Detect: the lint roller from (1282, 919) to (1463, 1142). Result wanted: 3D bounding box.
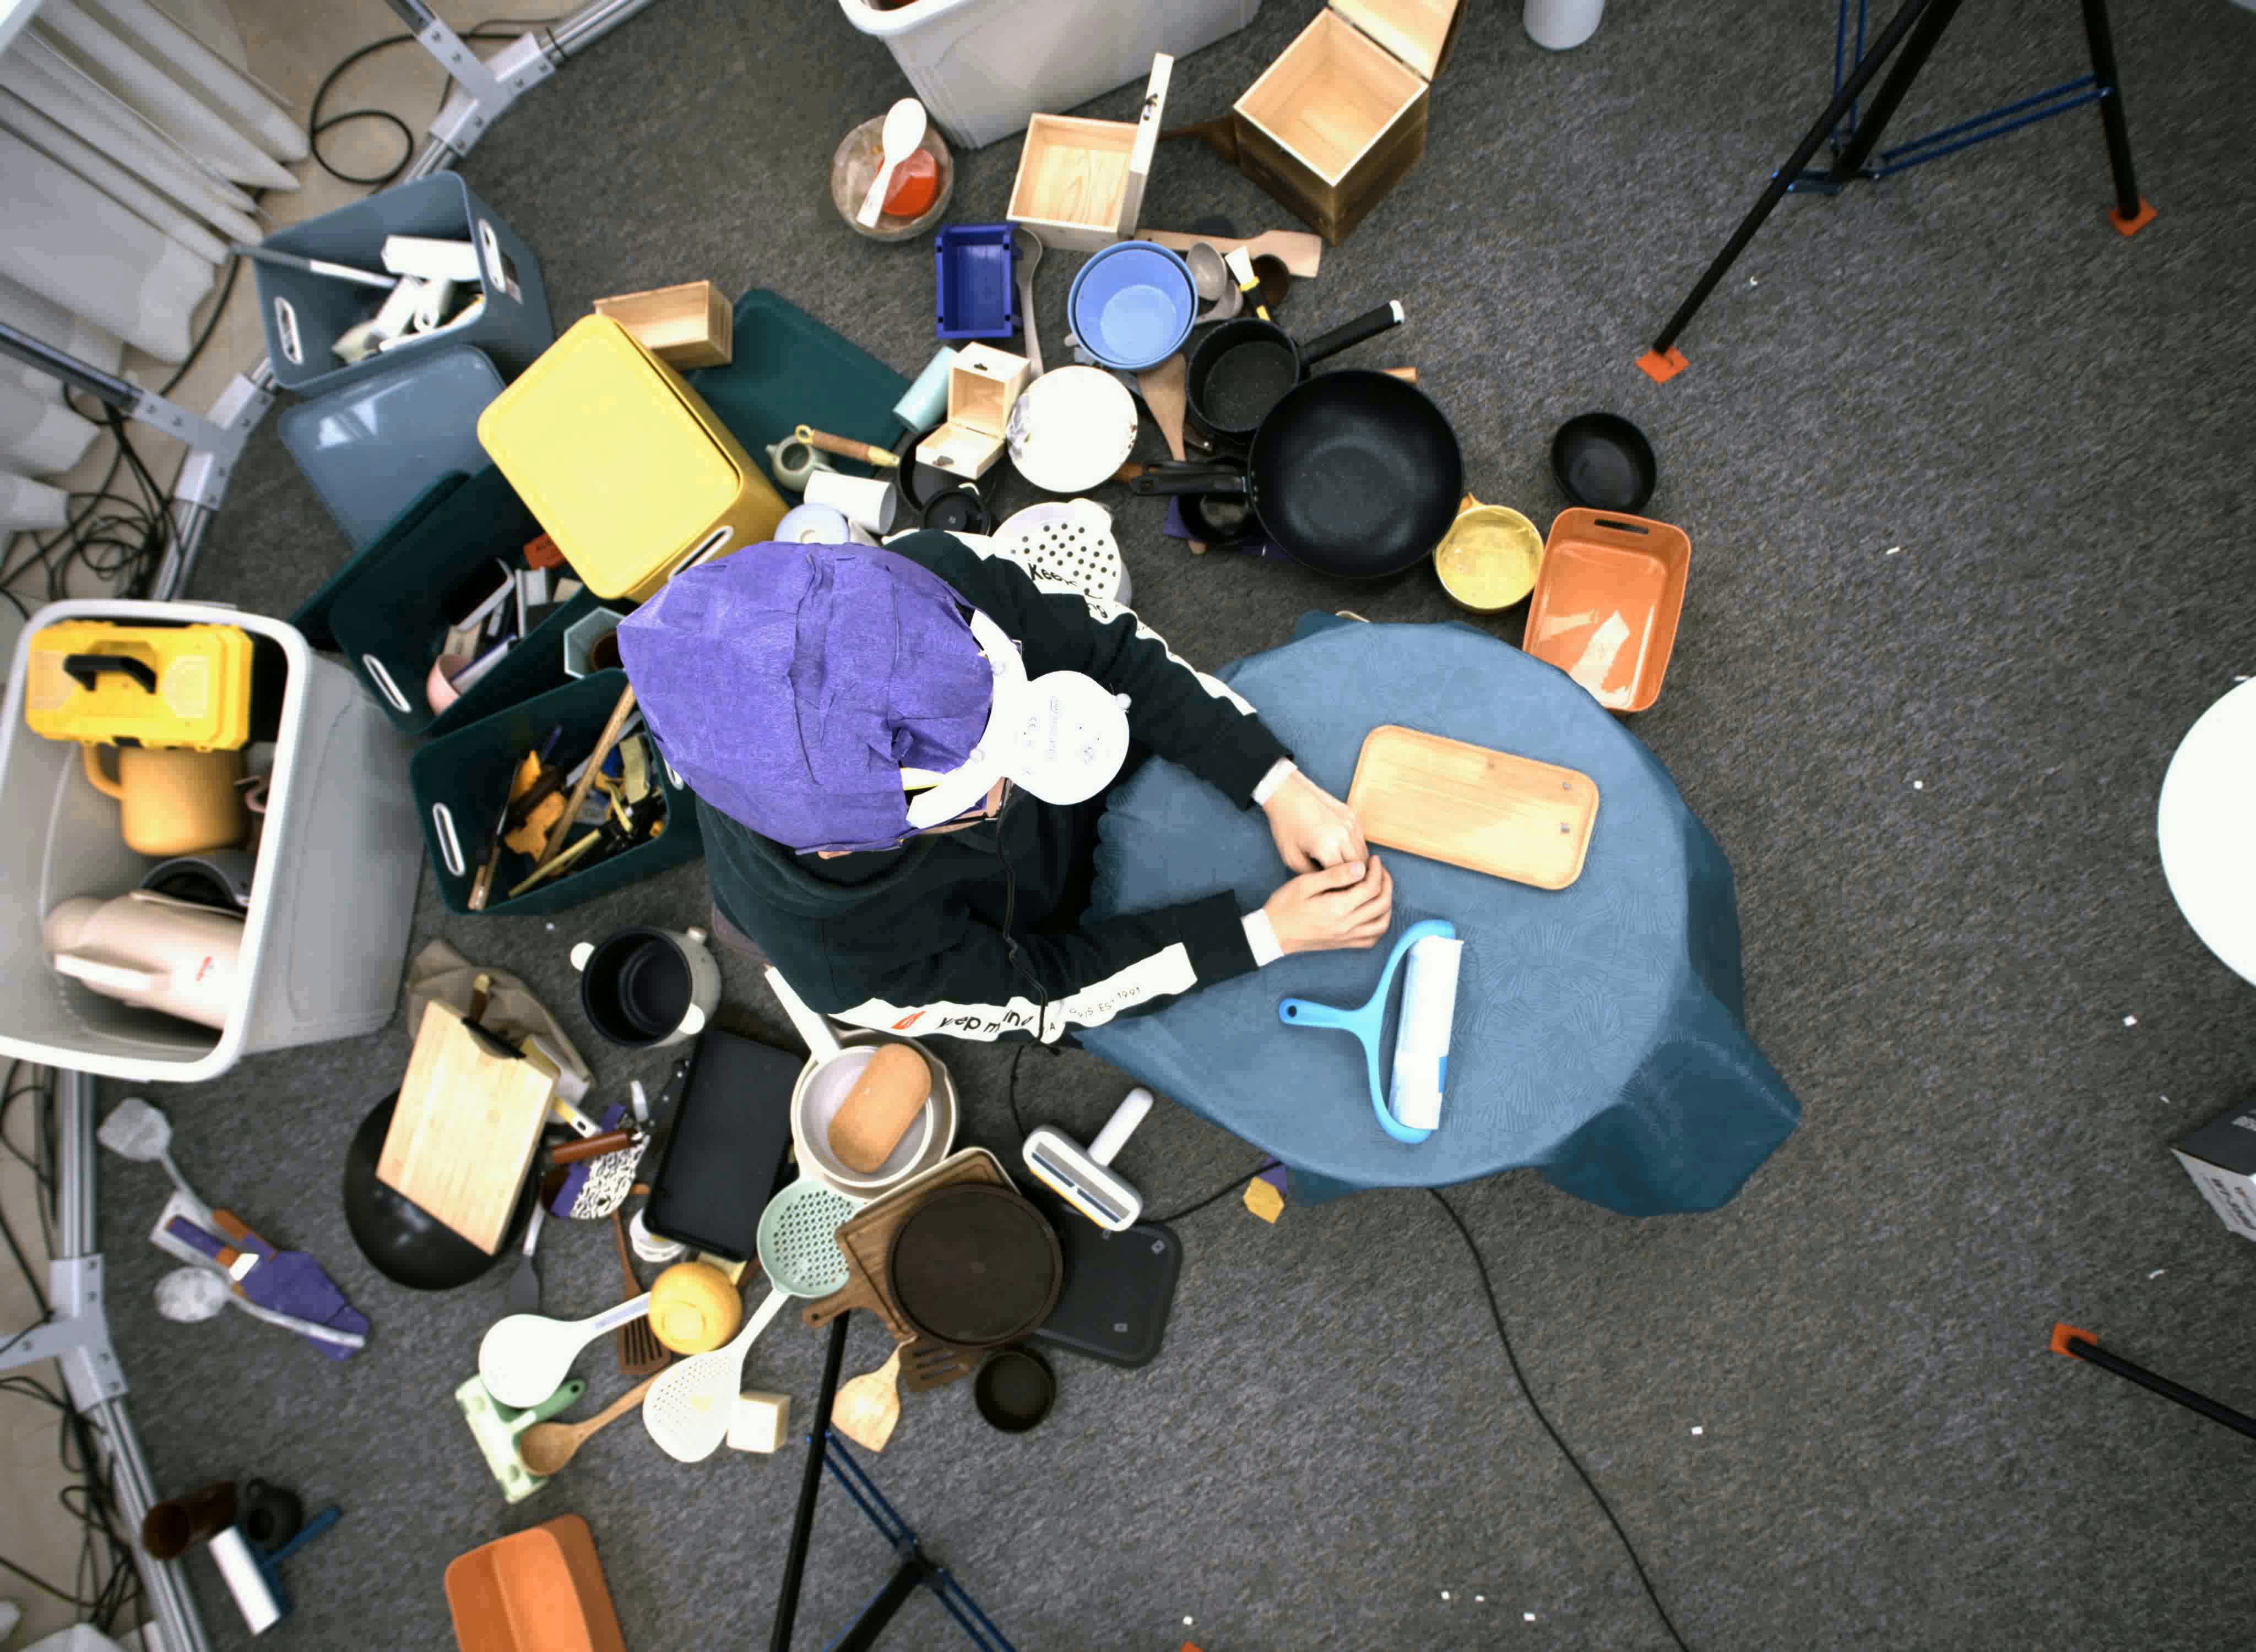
[{"bbox_3d":[0.247,0.203,1.424,0.181,0.068,0.228,5,89,9],"label":"lint roller"}]

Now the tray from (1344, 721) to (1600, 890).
[{"bbox_3d":[0.357,-0.024,1.436,0.251,0.023,0.130,16,88,11],"label":"tray"}]
